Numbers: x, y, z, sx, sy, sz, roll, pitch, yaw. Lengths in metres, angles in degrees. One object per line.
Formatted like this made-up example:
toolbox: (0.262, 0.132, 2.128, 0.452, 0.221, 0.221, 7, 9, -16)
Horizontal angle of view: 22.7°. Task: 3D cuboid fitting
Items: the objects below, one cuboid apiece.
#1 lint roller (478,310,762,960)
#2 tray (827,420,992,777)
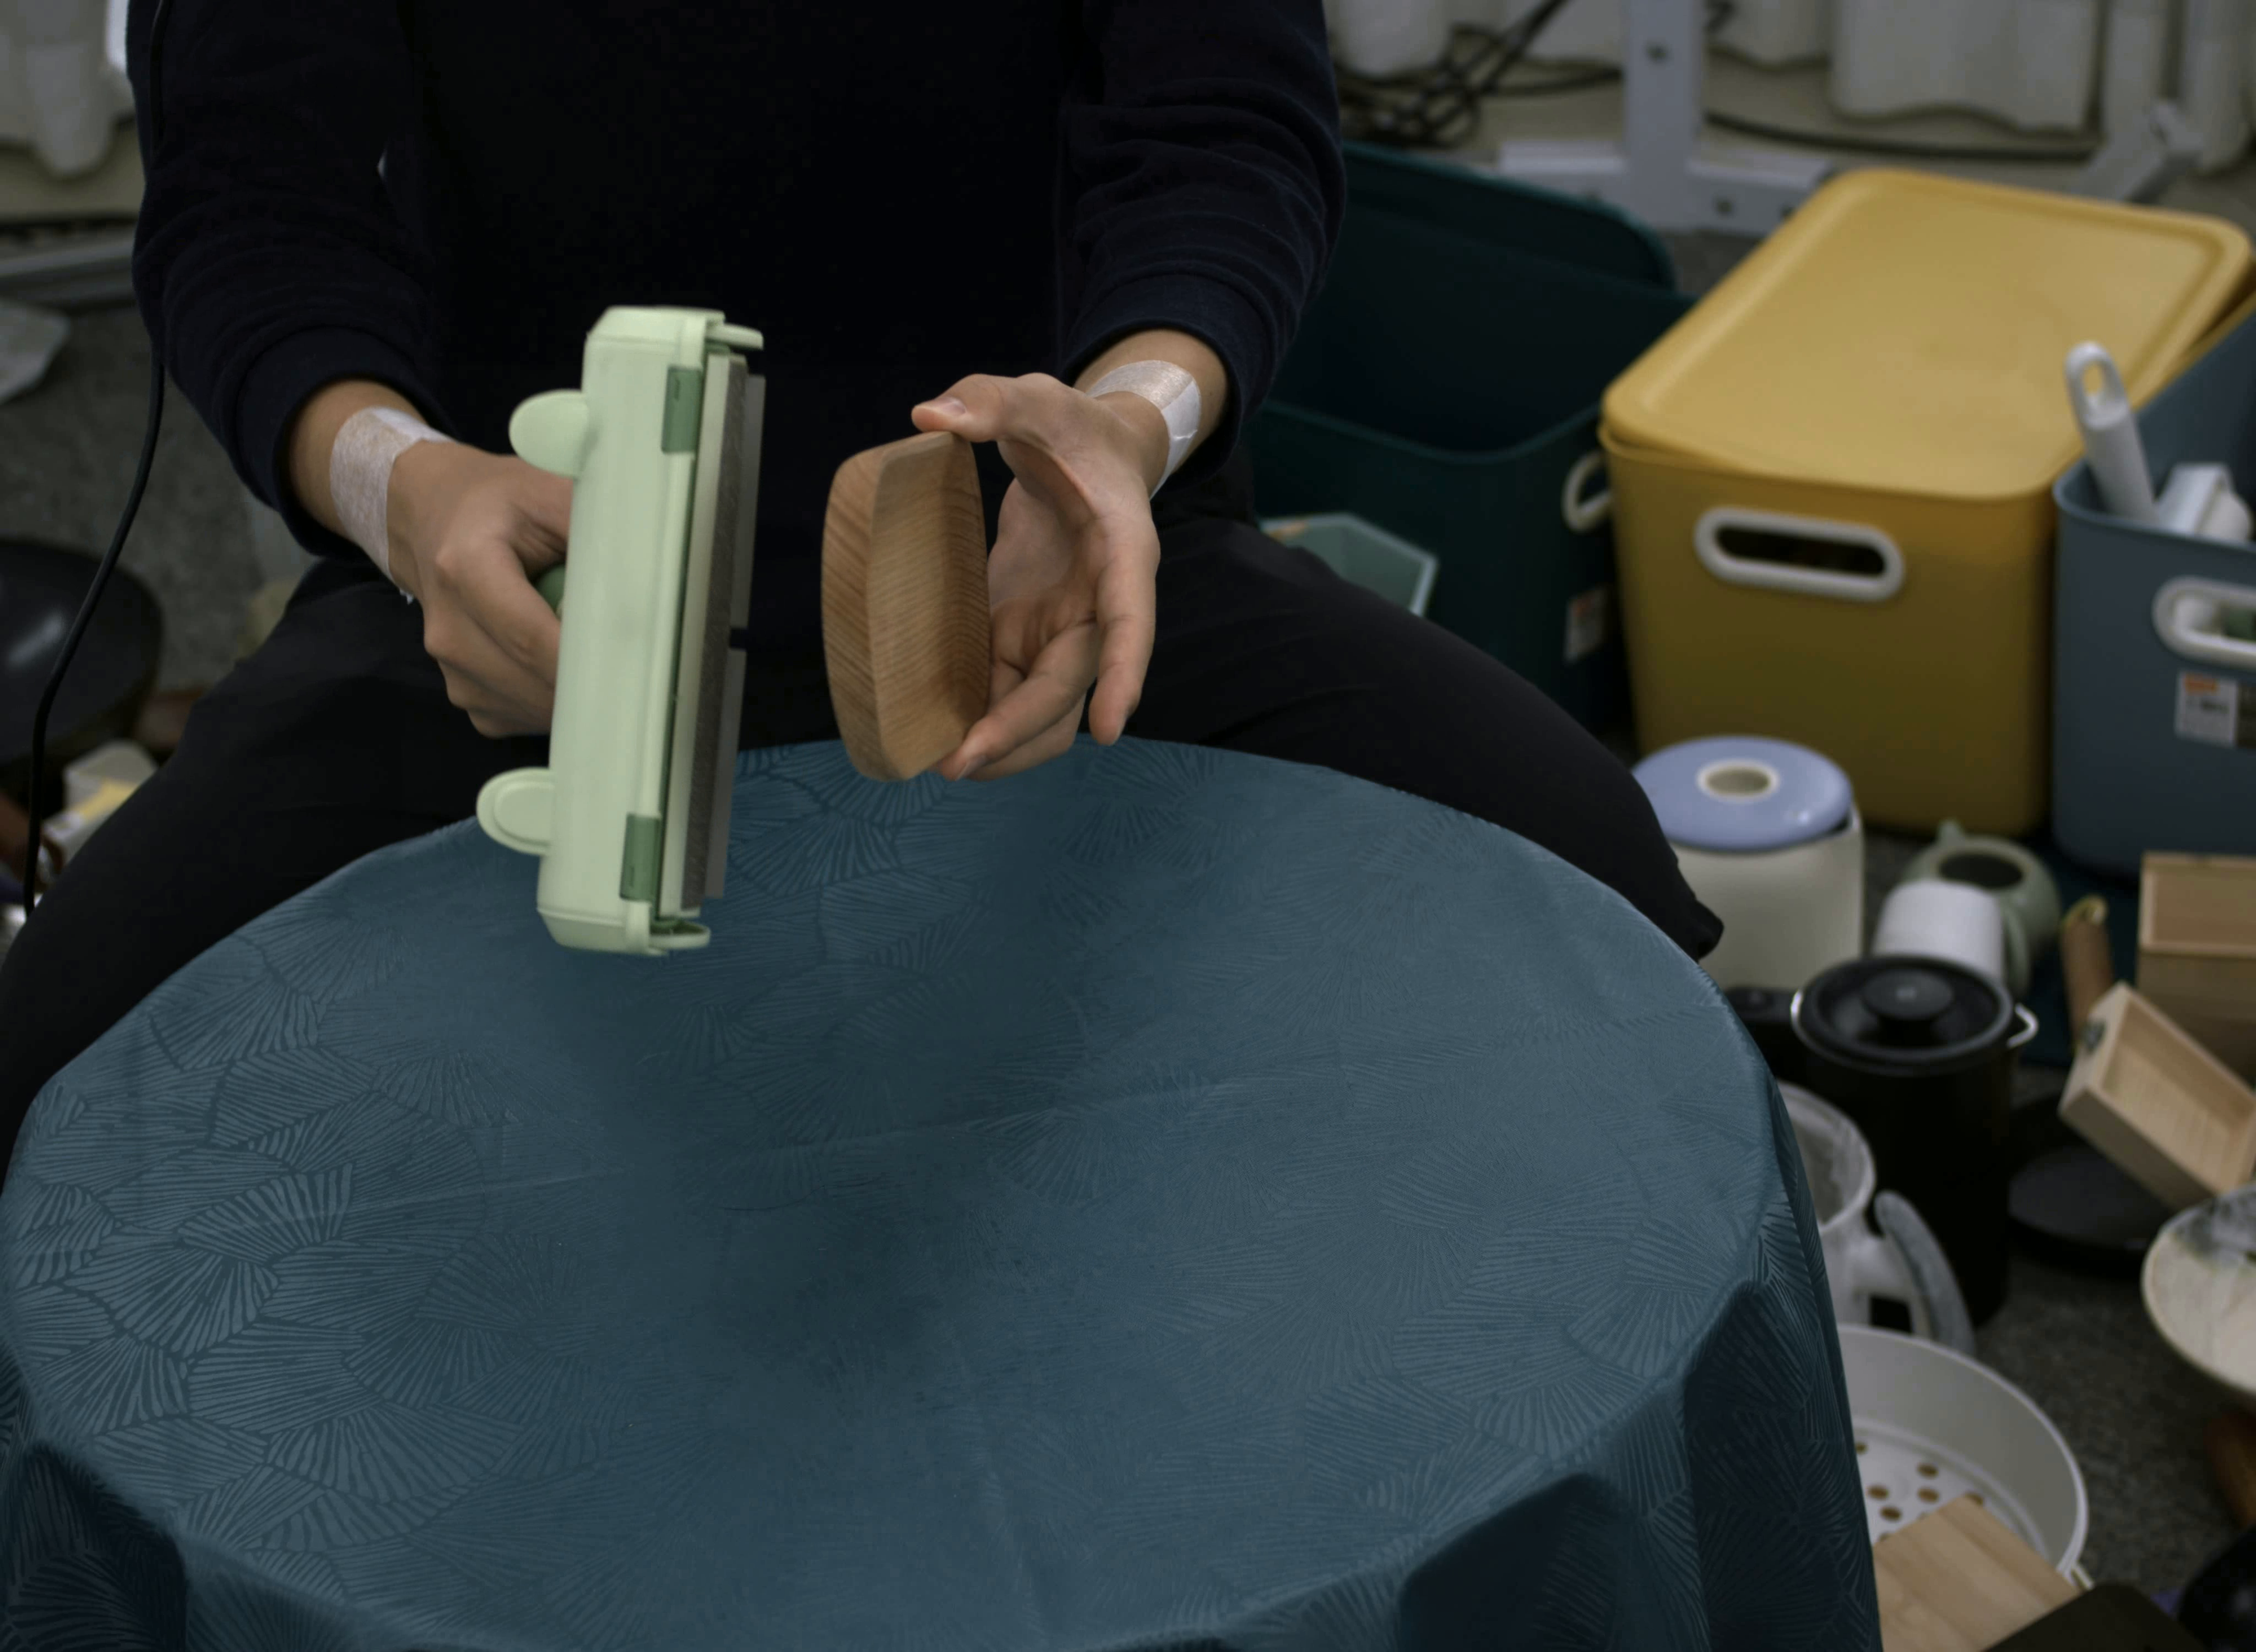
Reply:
lint roller: (-0.182, -0.063, 1.774, 0.082, 0.199, 0.182, 5, 0, -32)
tray: (-0.067, -0.073, 1.757, 0.020, 0.102, 0.232, -2, 6, 6)
